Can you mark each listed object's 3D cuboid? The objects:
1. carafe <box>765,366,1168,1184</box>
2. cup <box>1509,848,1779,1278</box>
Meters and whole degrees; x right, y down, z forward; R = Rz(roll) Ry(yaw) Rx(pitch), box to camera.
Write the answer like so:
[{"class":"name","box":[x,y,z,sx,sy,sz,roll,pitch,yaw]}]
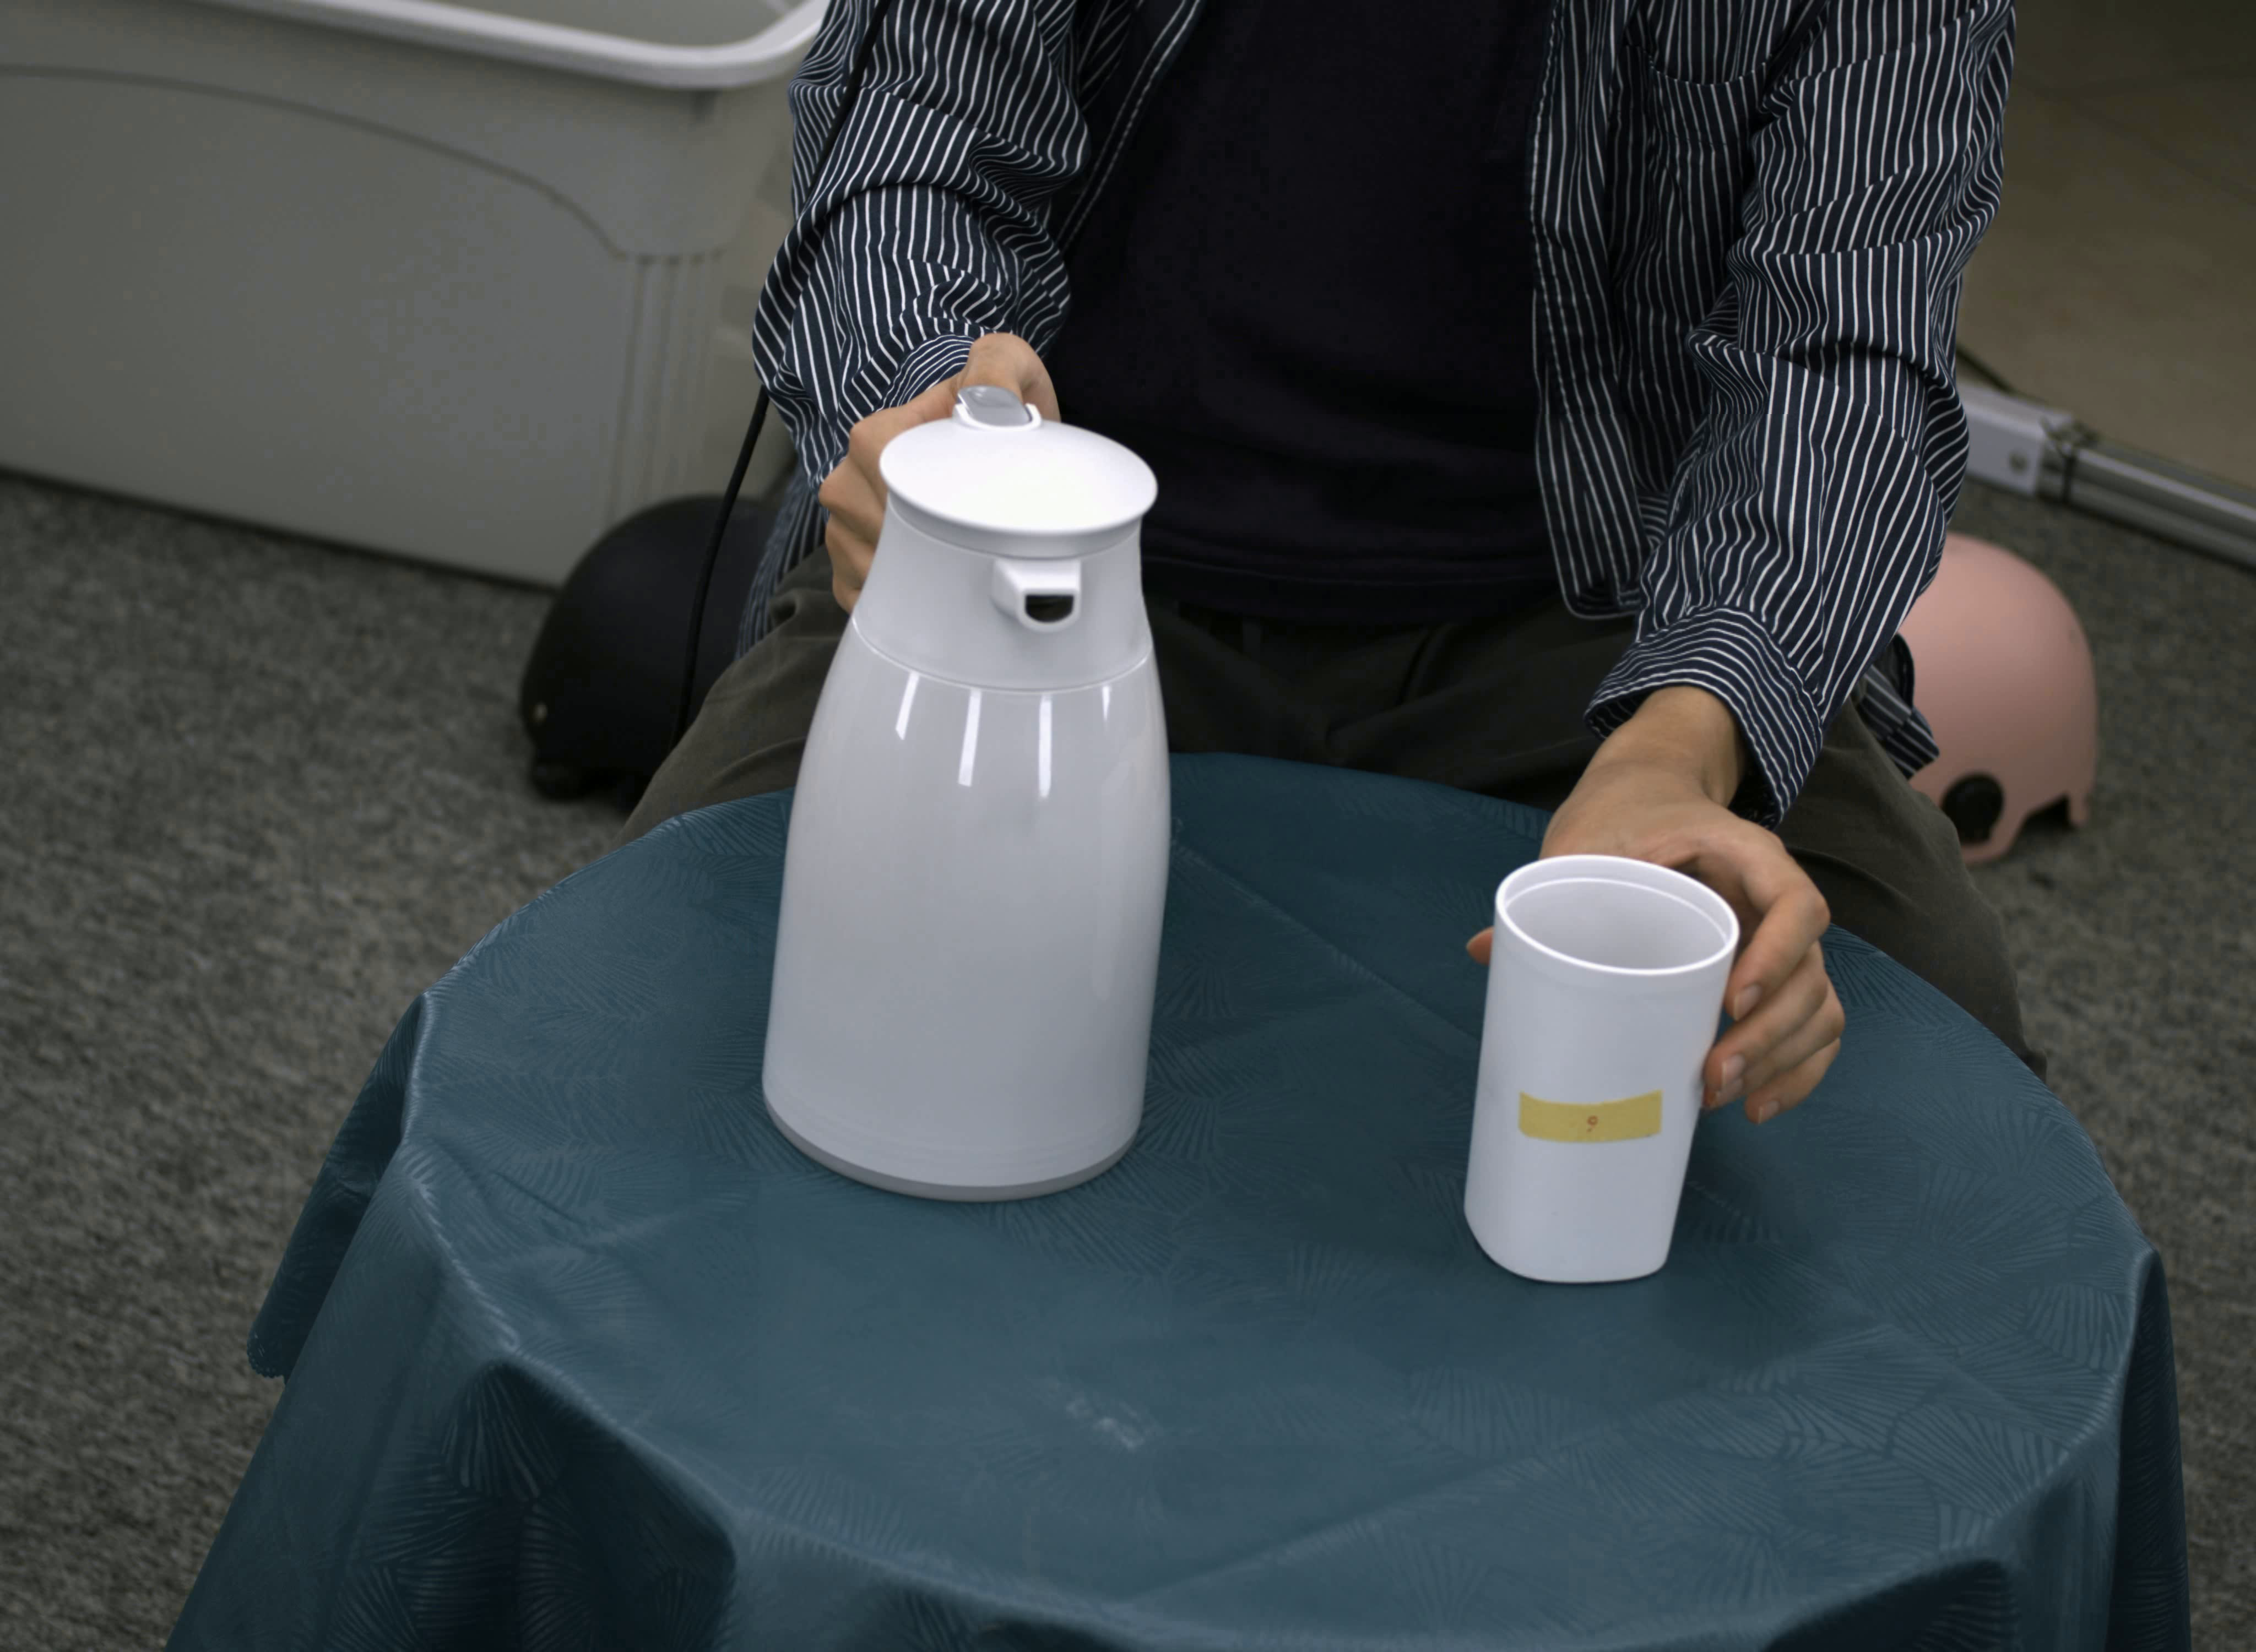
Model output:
[{"class":"carafe","box":[-0.056,-0.028,1.801,0.132,0.248,0.169,-5,31,-18]},{"class":"cup","box":[0.169,0.081,1.773,0.081,0.125,0.082,4,26,-2]}]
